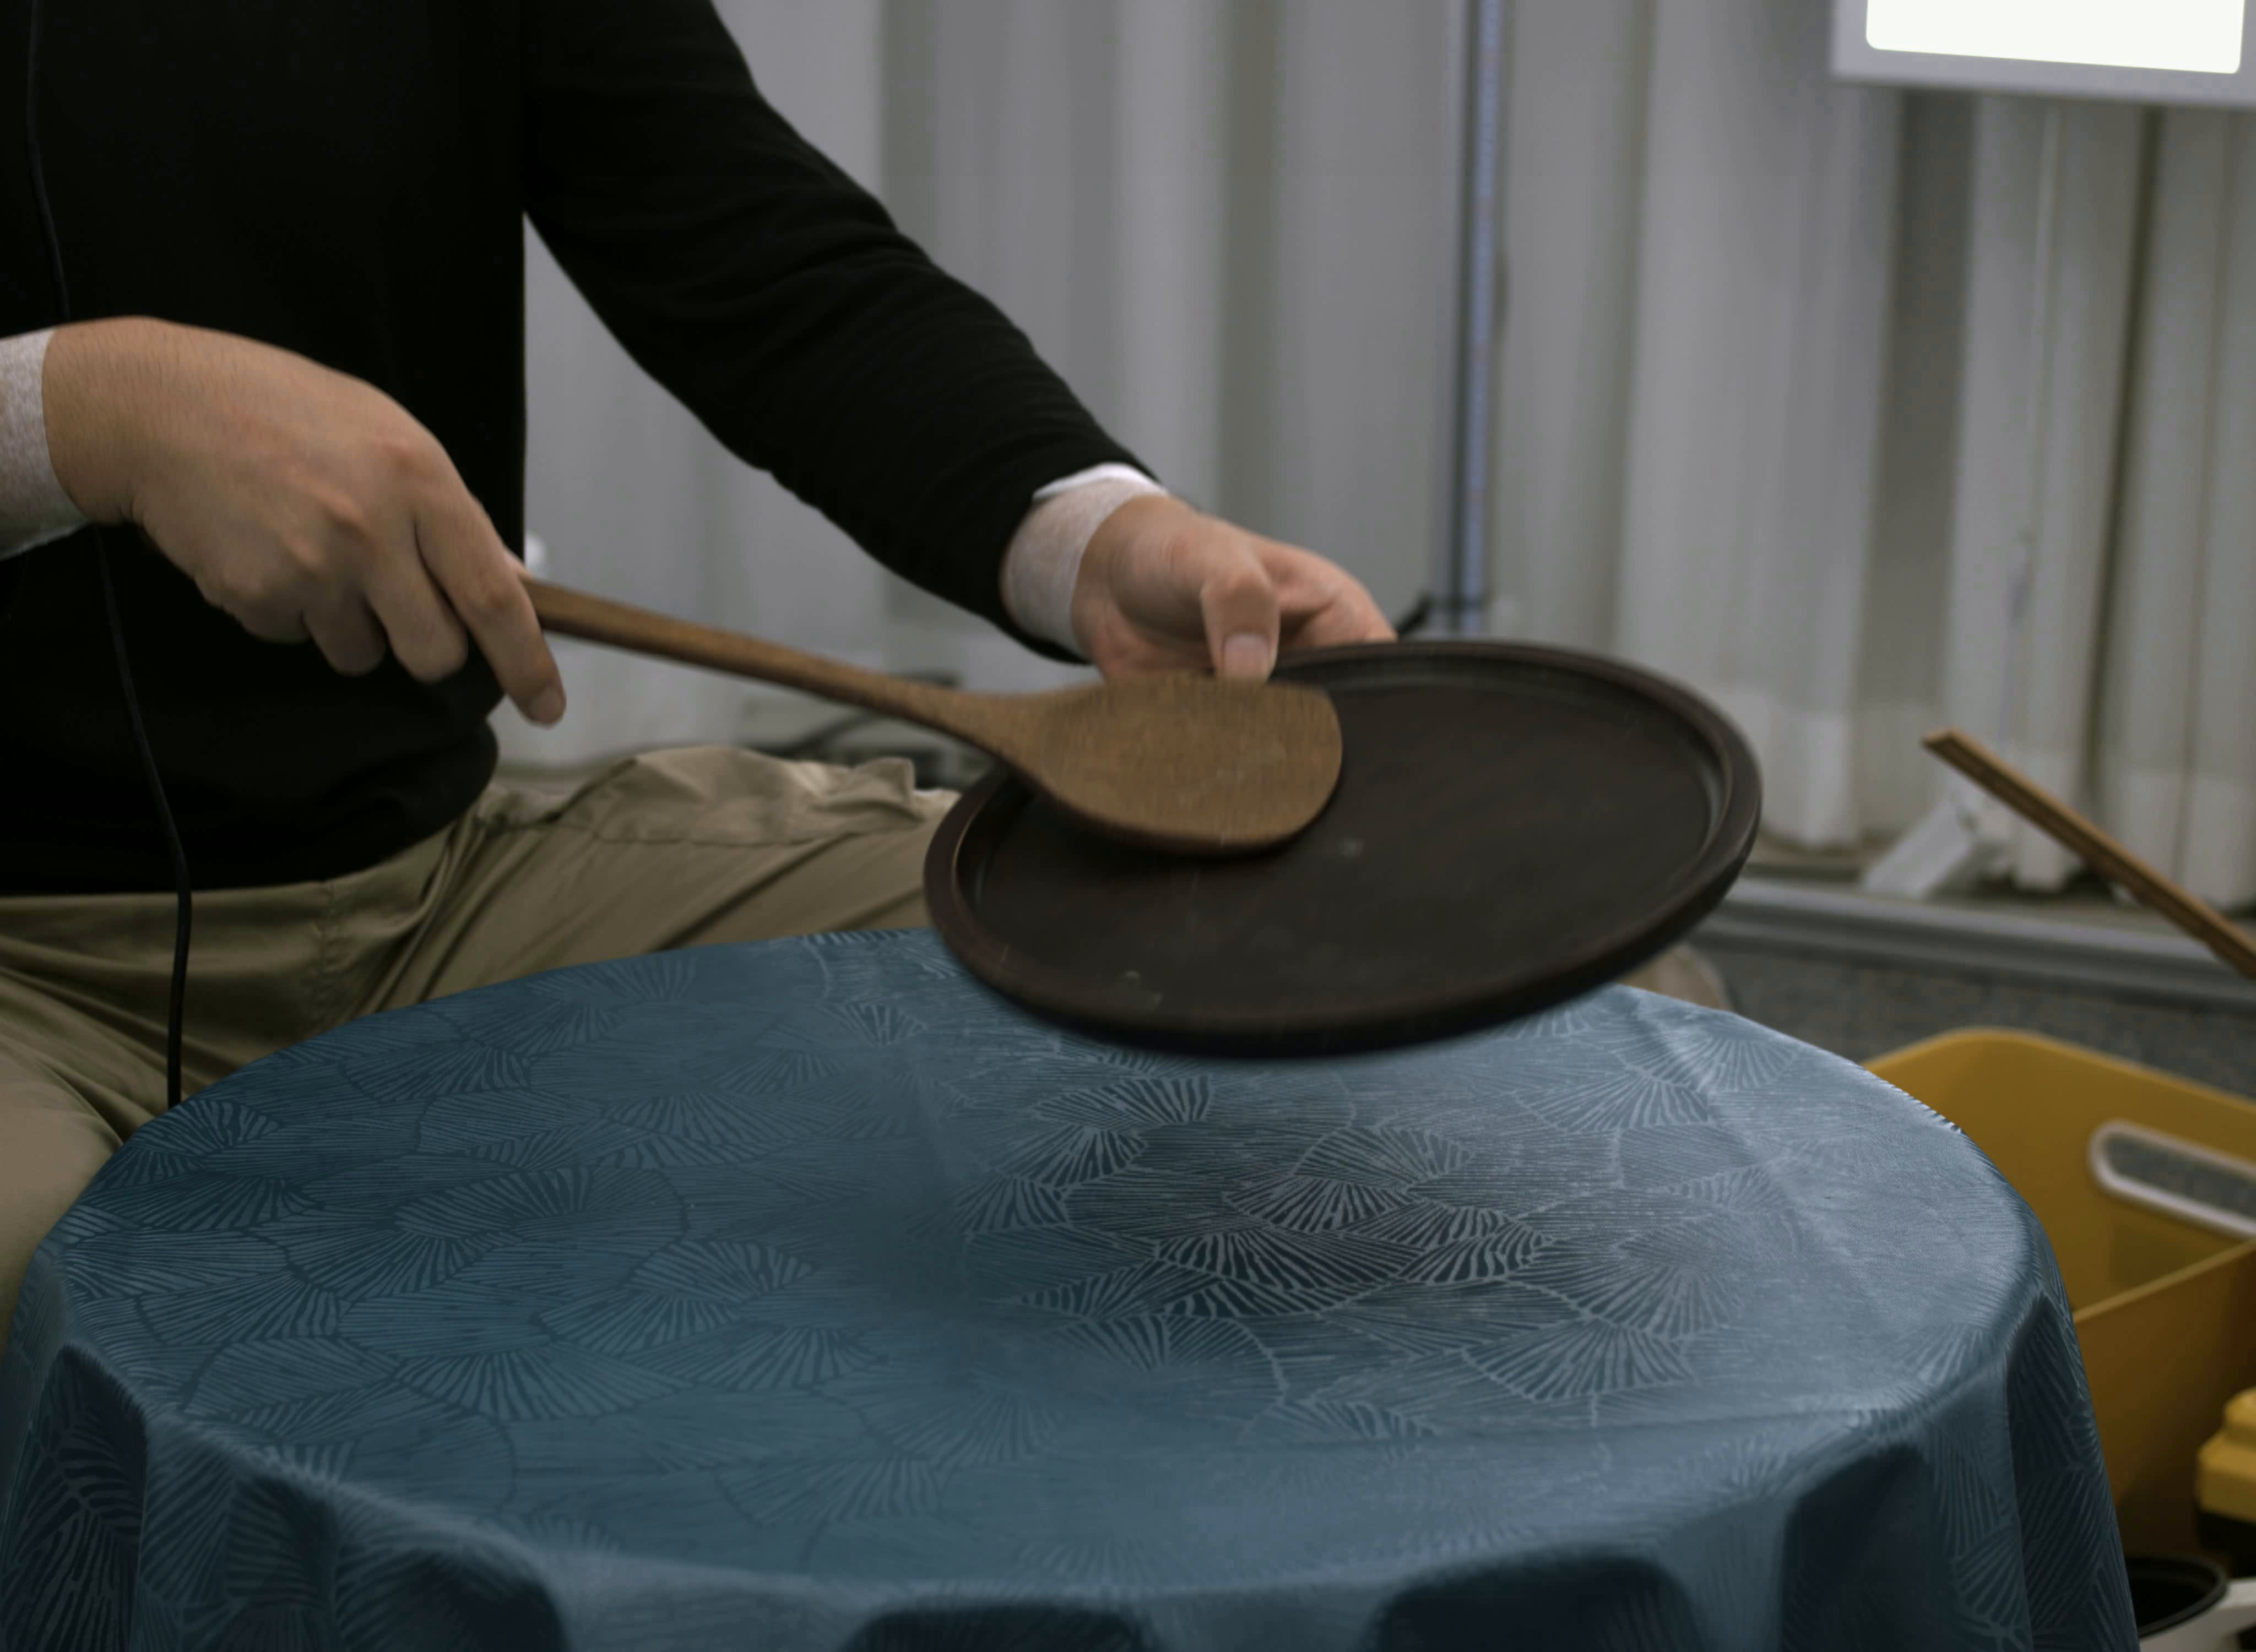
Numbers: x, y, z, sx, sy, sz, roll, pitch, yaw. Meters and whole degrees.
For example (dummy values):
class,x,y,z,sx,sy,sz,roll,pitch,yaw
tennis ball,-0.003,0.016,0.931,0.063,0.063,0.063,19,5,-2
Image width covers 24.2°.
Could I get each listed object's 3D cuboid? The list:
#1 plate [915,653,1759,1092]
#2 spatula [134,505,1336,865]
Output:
class,x,y,z,sx,sy,sz,roll,pitch,yaw
plate,0.062,0.011,1.570,0.253,0.029,0.253,-7,28,4
spatula,-0.124,-0.050,1.623,0.384,0.016,0.095,14,34,5
